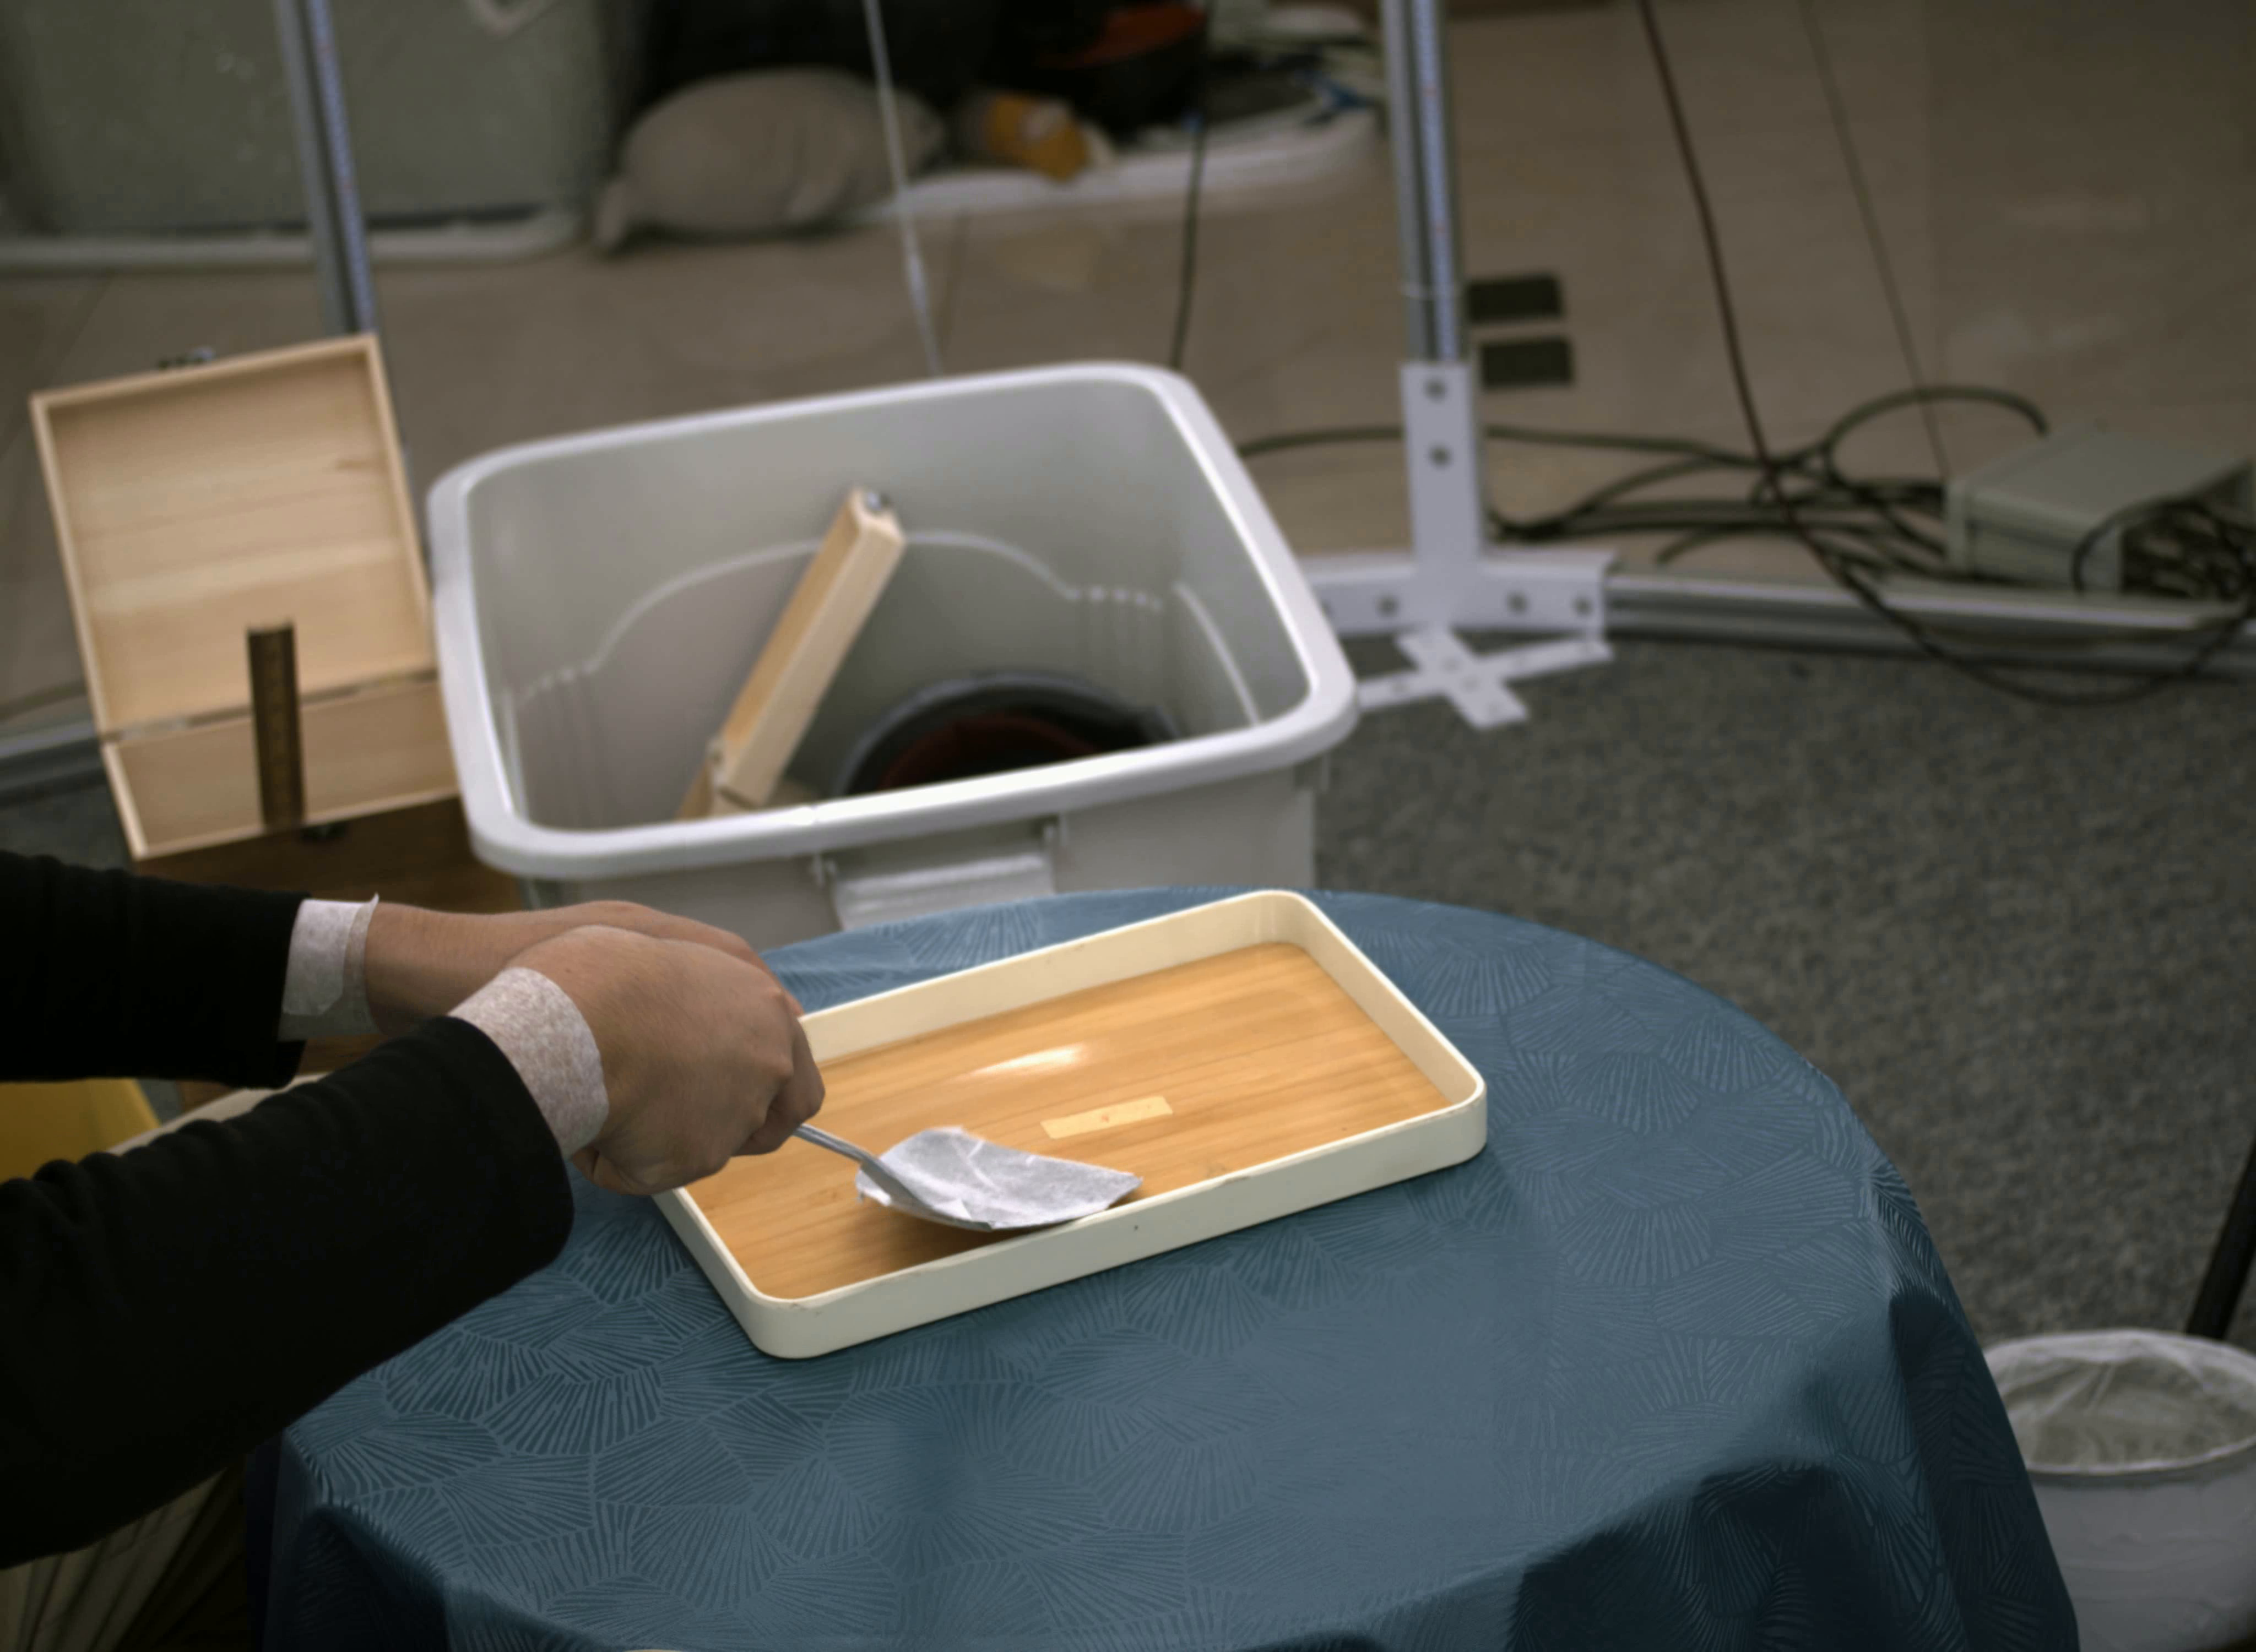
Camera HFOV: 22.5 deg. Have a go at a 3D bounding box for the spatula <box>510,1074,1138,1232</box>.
[{"bbox_3d":[-0.110,0.106,1.987,0.098,0.044,0.367,11,-8,26],"label":"spatula"}]

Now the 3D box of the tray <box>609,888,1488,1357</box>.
[{"bbox_3d":[-0.032,0.110,2.168,0.299,0.028,0.189,-15,31,-18],"label":"tray"}]
